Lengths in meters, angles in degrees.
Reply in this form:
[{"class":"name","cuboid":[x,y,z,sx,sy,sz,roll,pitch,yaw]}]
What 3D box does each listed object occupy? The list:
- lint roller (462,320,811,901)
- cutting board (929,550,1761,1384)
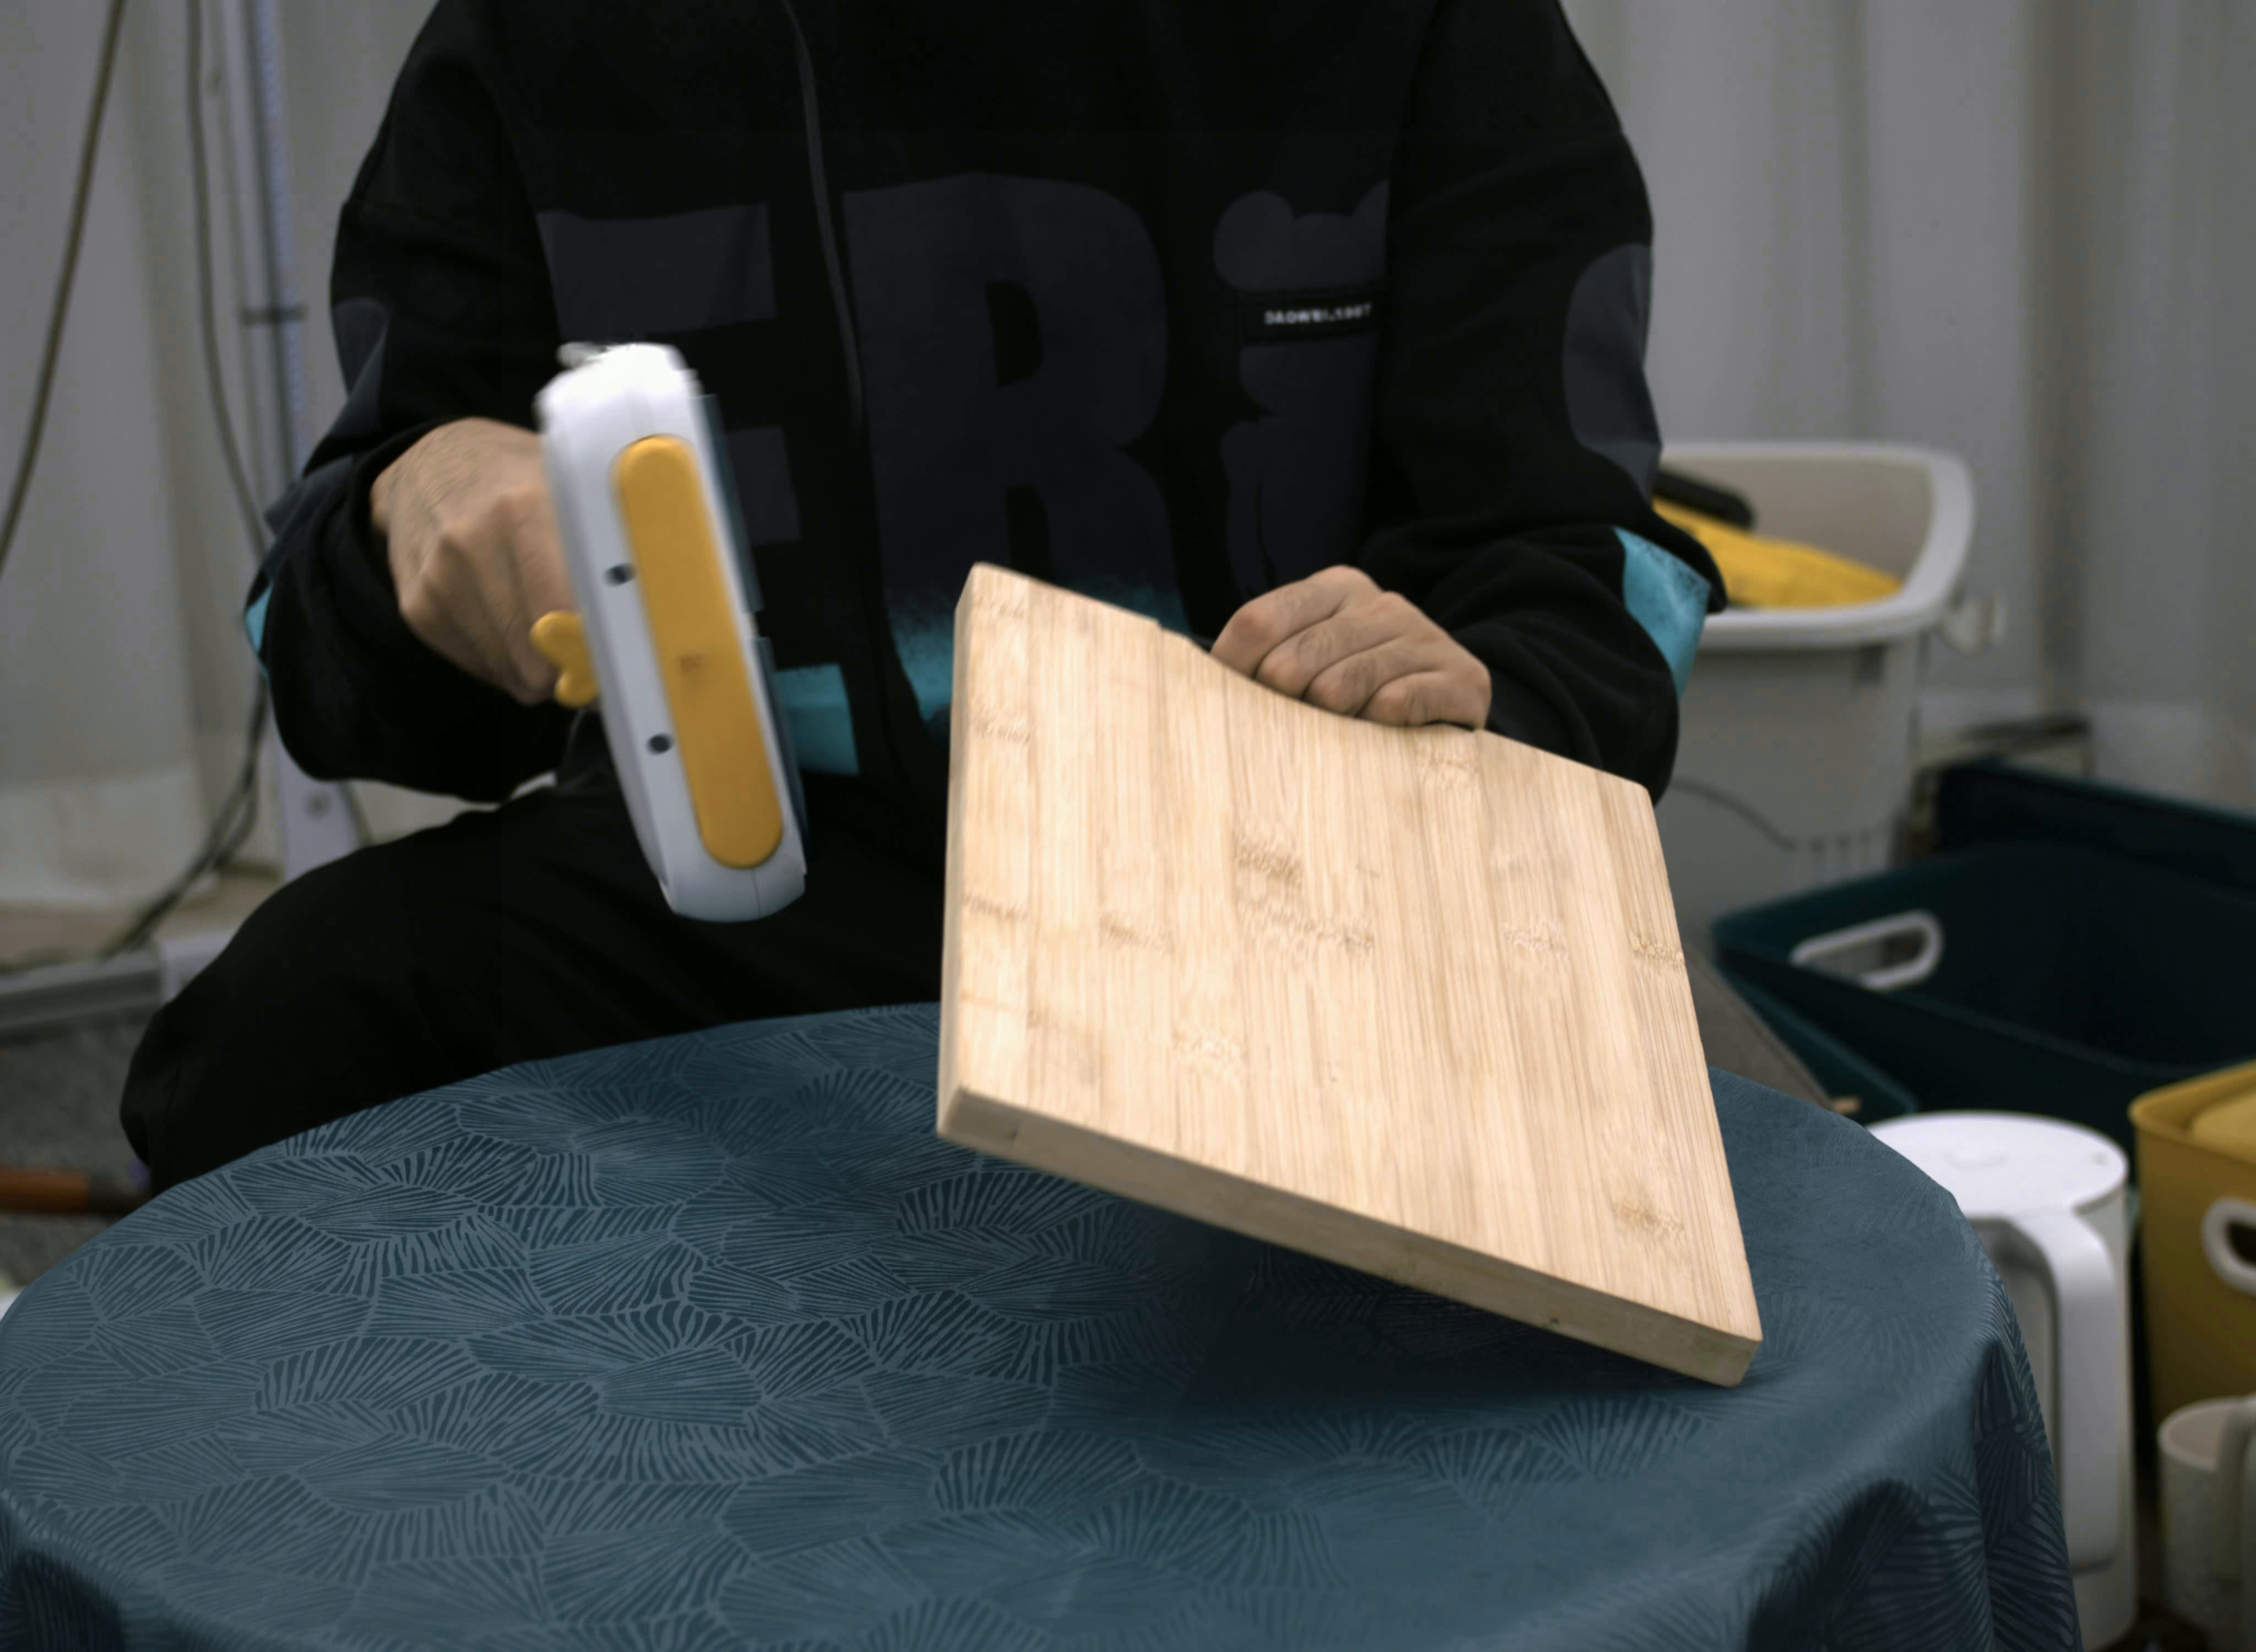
[{"class":"lint roller","cuboid":[-0.174,-0.073,1.840,0.074,0.192,0.193,-20,12,-17]},{"class":"cutting board","cuboid":[0.061,0.033,1.657,0.249,0.023,0.353,19,26,-10]}]
